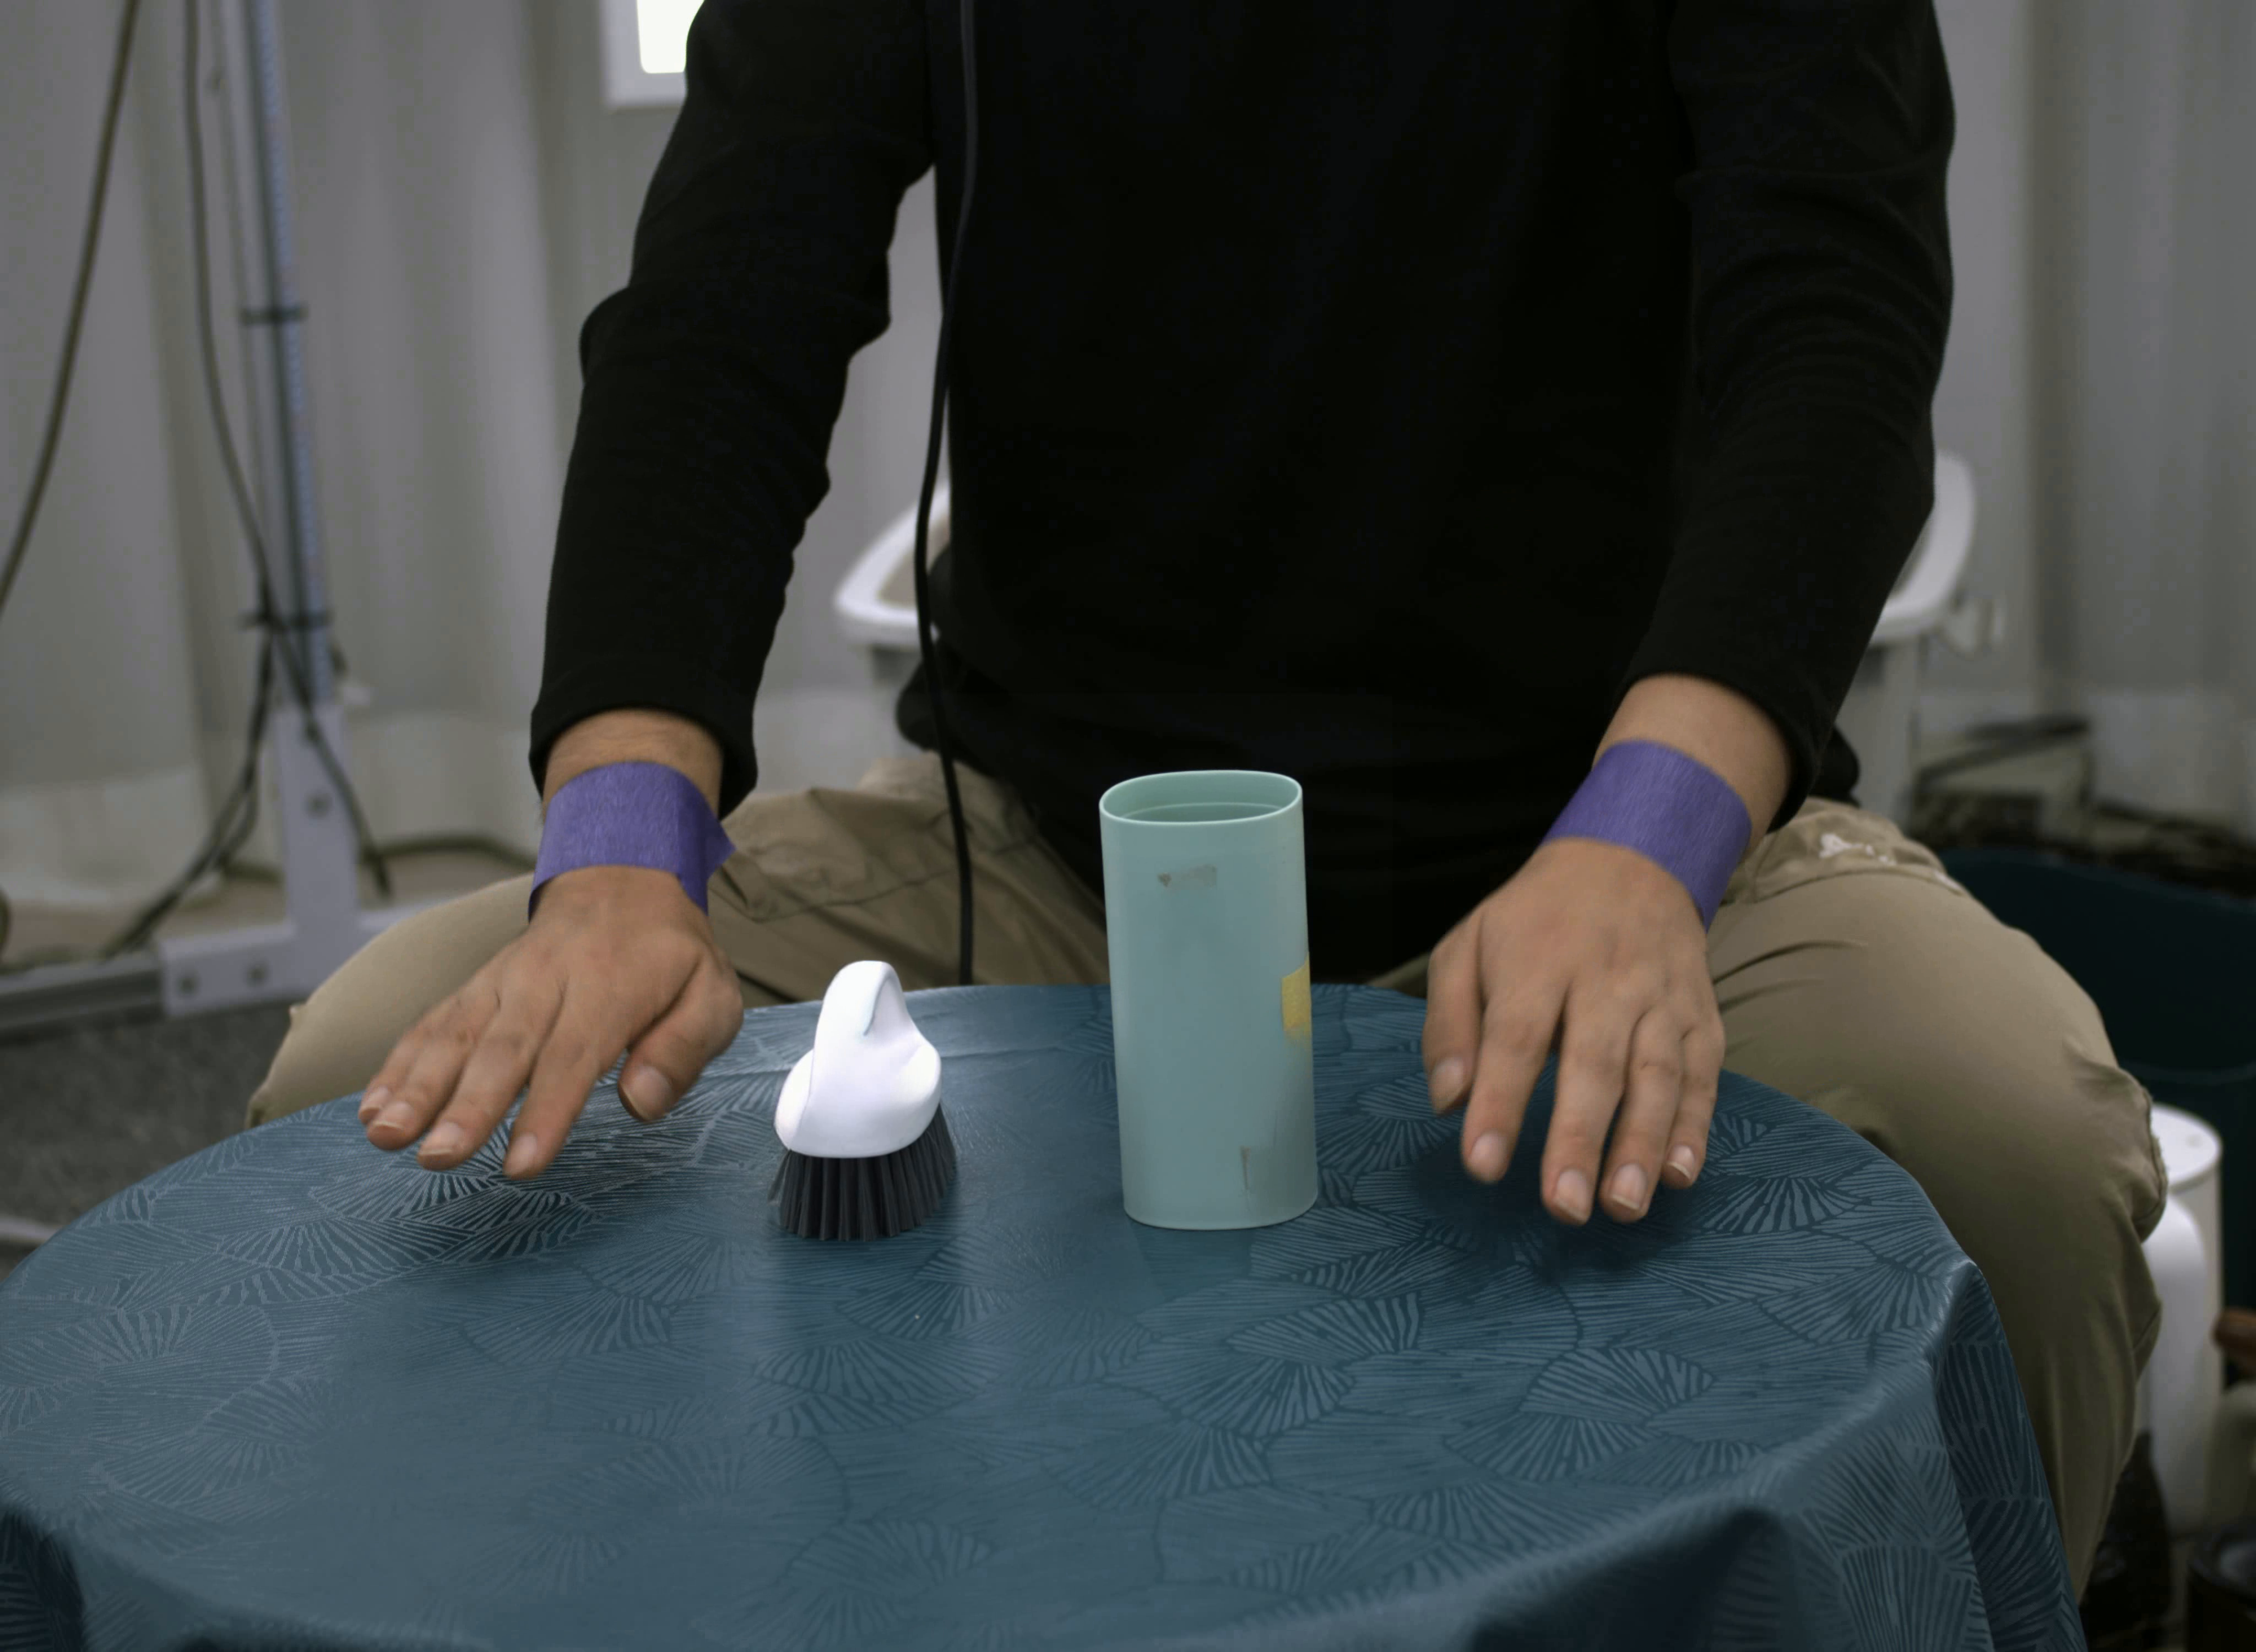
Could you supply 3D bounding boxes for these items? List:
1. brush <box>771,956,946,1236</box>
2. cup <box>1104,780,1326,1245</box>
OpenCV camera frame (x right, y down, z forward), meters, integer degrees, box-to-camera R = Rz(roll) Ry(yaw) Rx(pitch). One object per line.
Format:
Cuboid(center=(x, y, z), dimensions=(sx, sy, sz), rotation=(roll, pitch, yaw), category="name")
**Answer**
Cuboid(center=(-0.086, 0.080, 1.720), dimensions=(0.050, 0.072, 0.100), rotation=(0, 15, 7), category="brush")
Cuboid(center=(0.026, 0.057, 1.689), dimensions=(0.066, 0.132, 0.067), rotation=(-3, 14, 1), category="cup")
